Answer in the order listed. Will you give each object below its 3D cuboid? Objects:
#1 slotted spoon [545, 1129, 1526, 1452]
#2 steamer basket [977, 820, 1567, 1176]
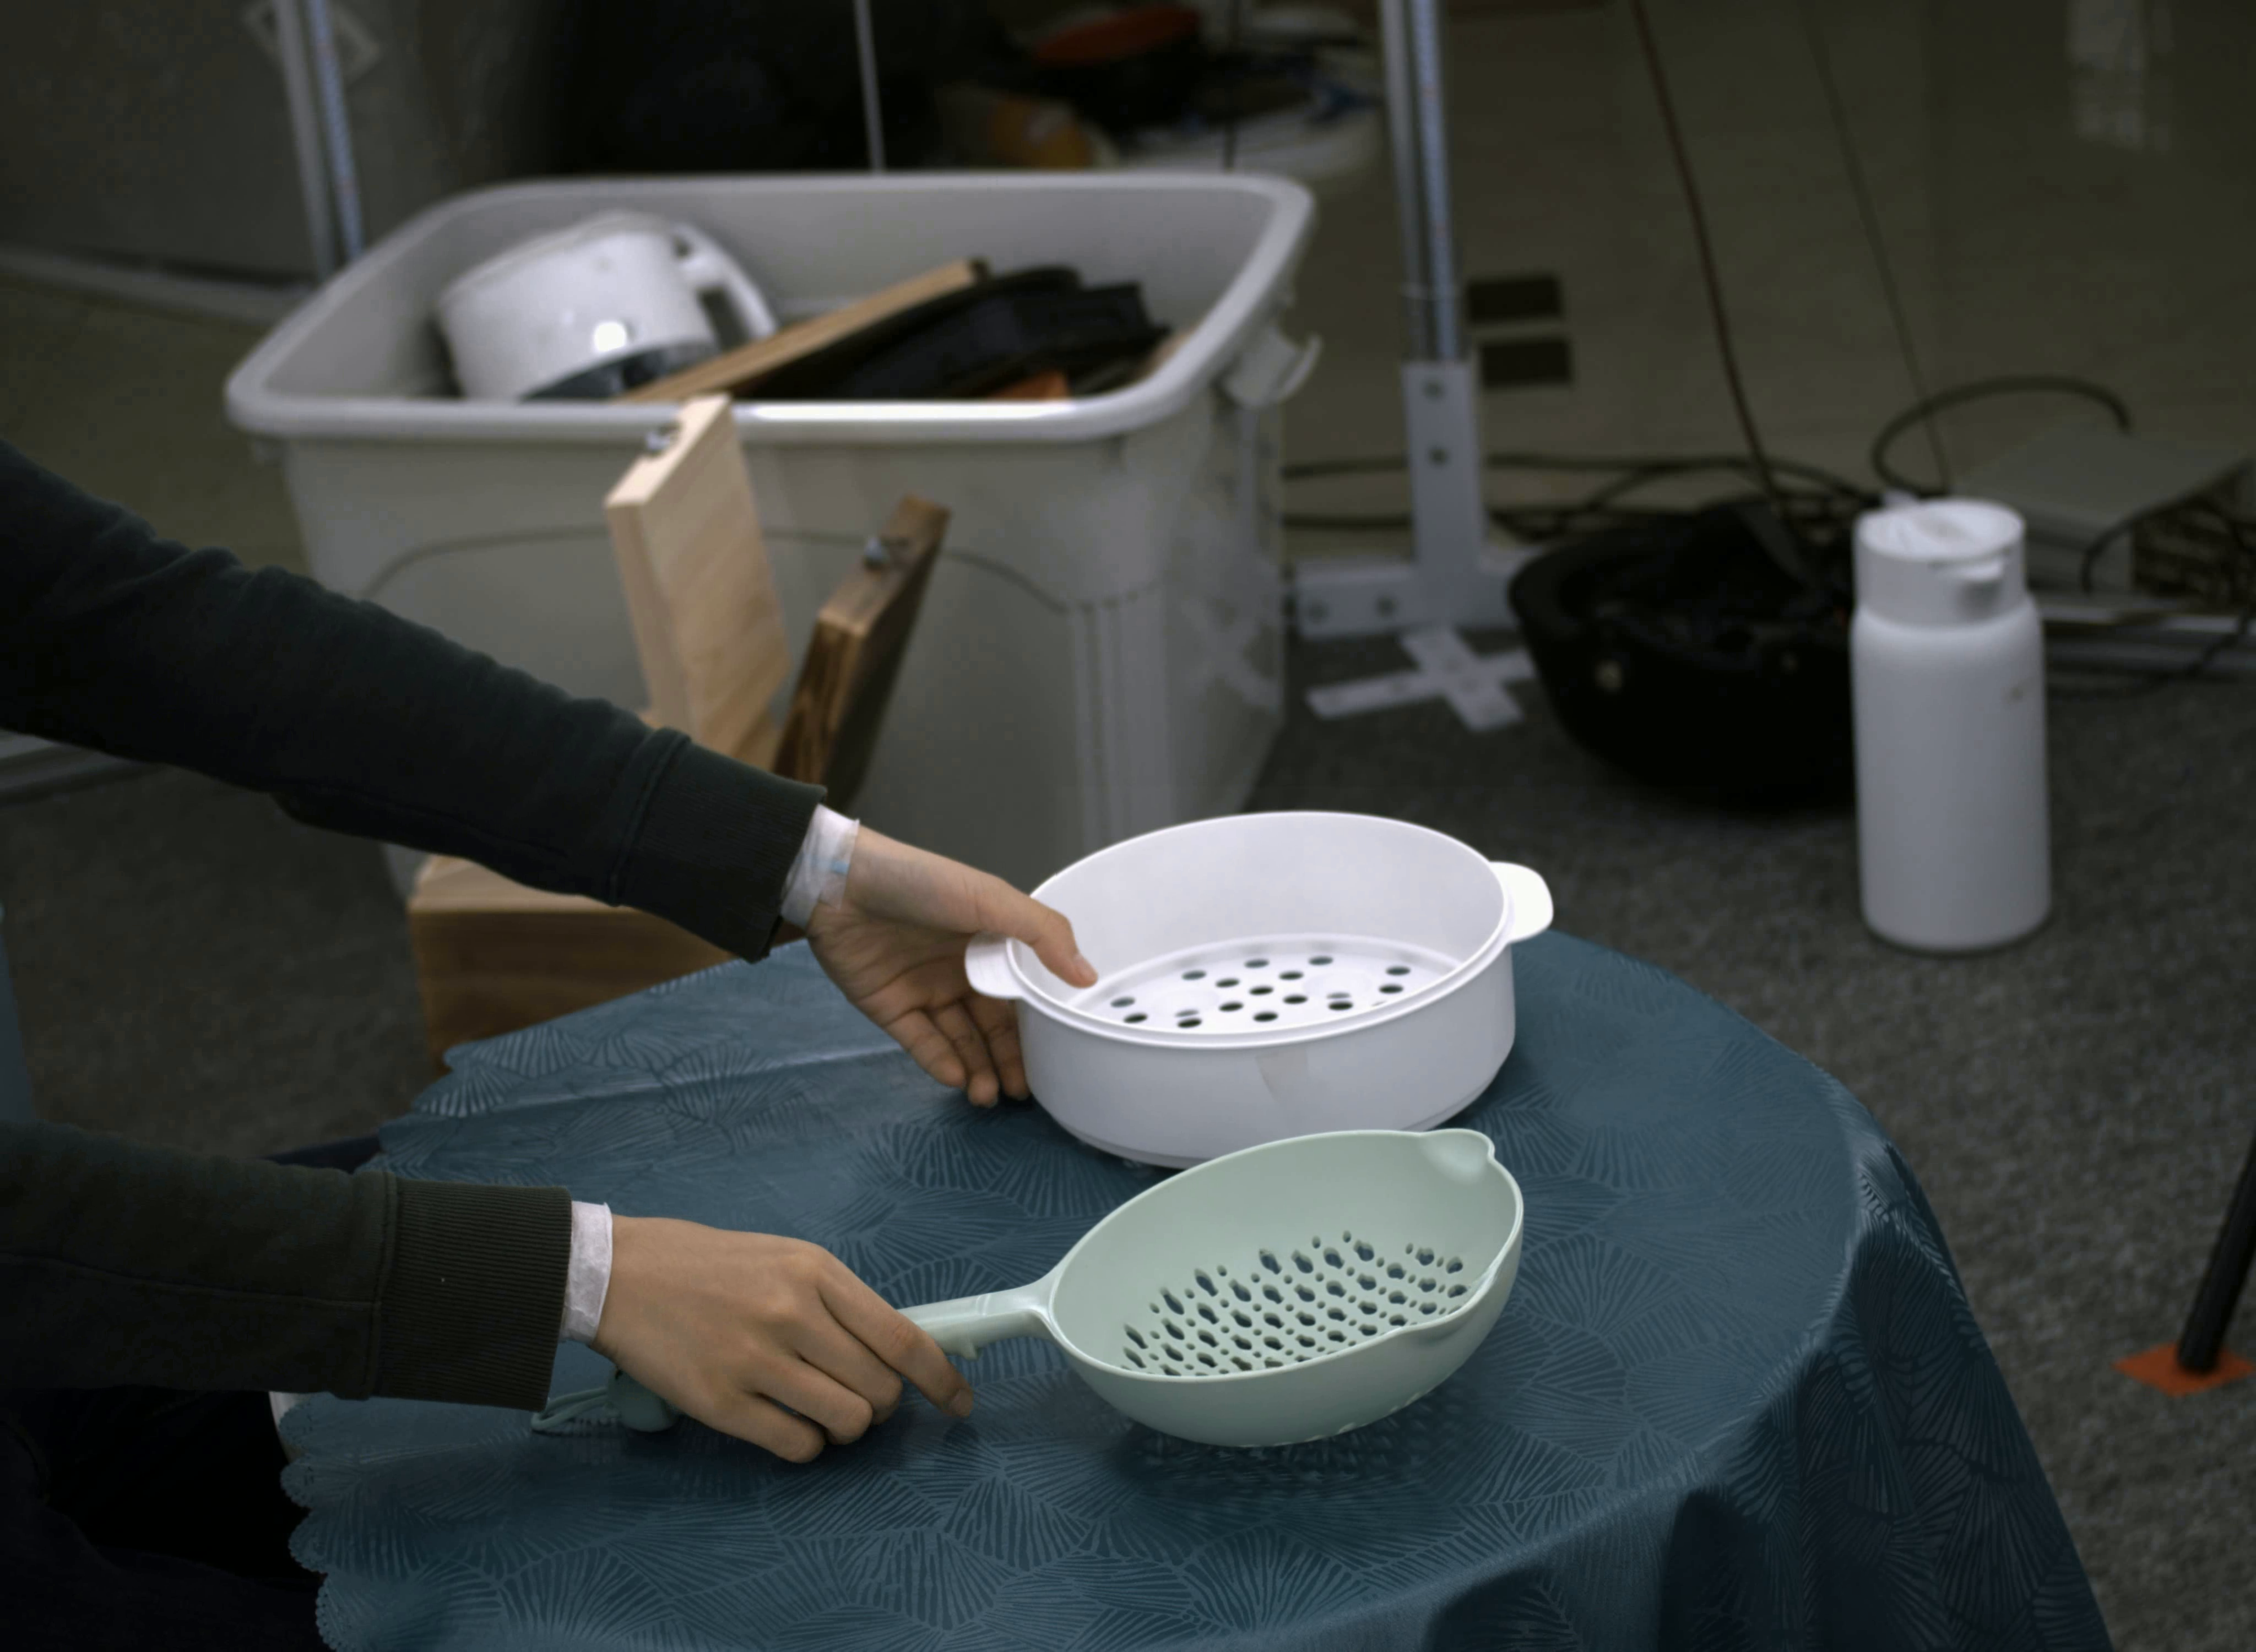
[{"bbox_3d":[-0.036,0.177,2.003,0.358,0.076,0.167,-3,25,8],"label":"slotted spoon"},{"bbox_3d":[0.058,0.067,2.216,0.230,0.070,0.199,-7,24,-1],"label":"steamer basket"}]
